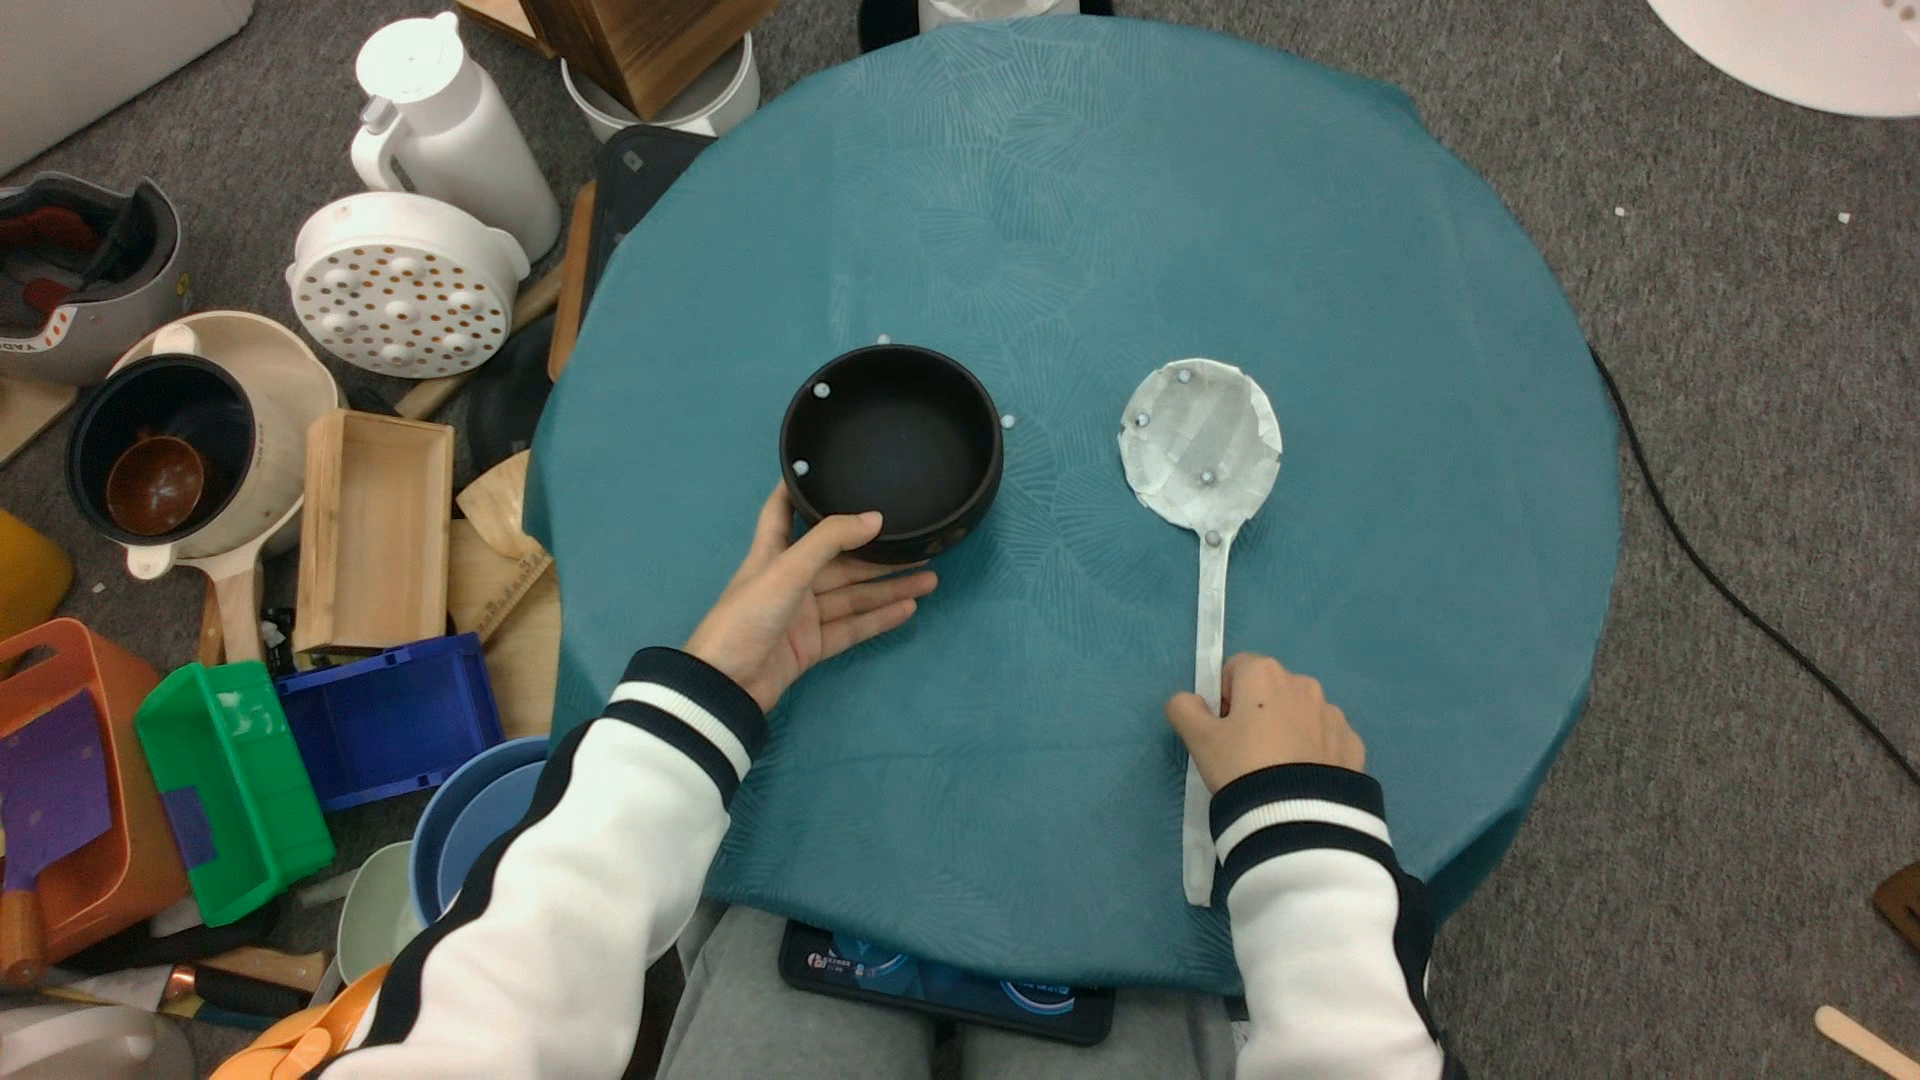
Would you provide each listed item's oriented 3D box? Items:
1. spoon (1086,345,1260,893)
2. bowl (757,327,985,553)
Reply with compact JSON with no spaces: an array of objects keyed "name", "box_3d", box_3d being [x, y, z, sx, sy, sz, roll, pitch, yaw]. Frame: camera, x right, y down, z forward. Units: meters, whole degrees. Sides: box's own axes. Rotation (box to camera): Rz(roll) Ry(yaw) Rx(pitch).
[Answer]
[{"name":"spoon","box_3d":[0.101,0.036,0.707,0.100,0.059,0.278,-8,65,38]},{"name":"bowl","box_3d":[-0.045,-0.047,0.733,0.118,0.069,0.118,0,69,1]}]
